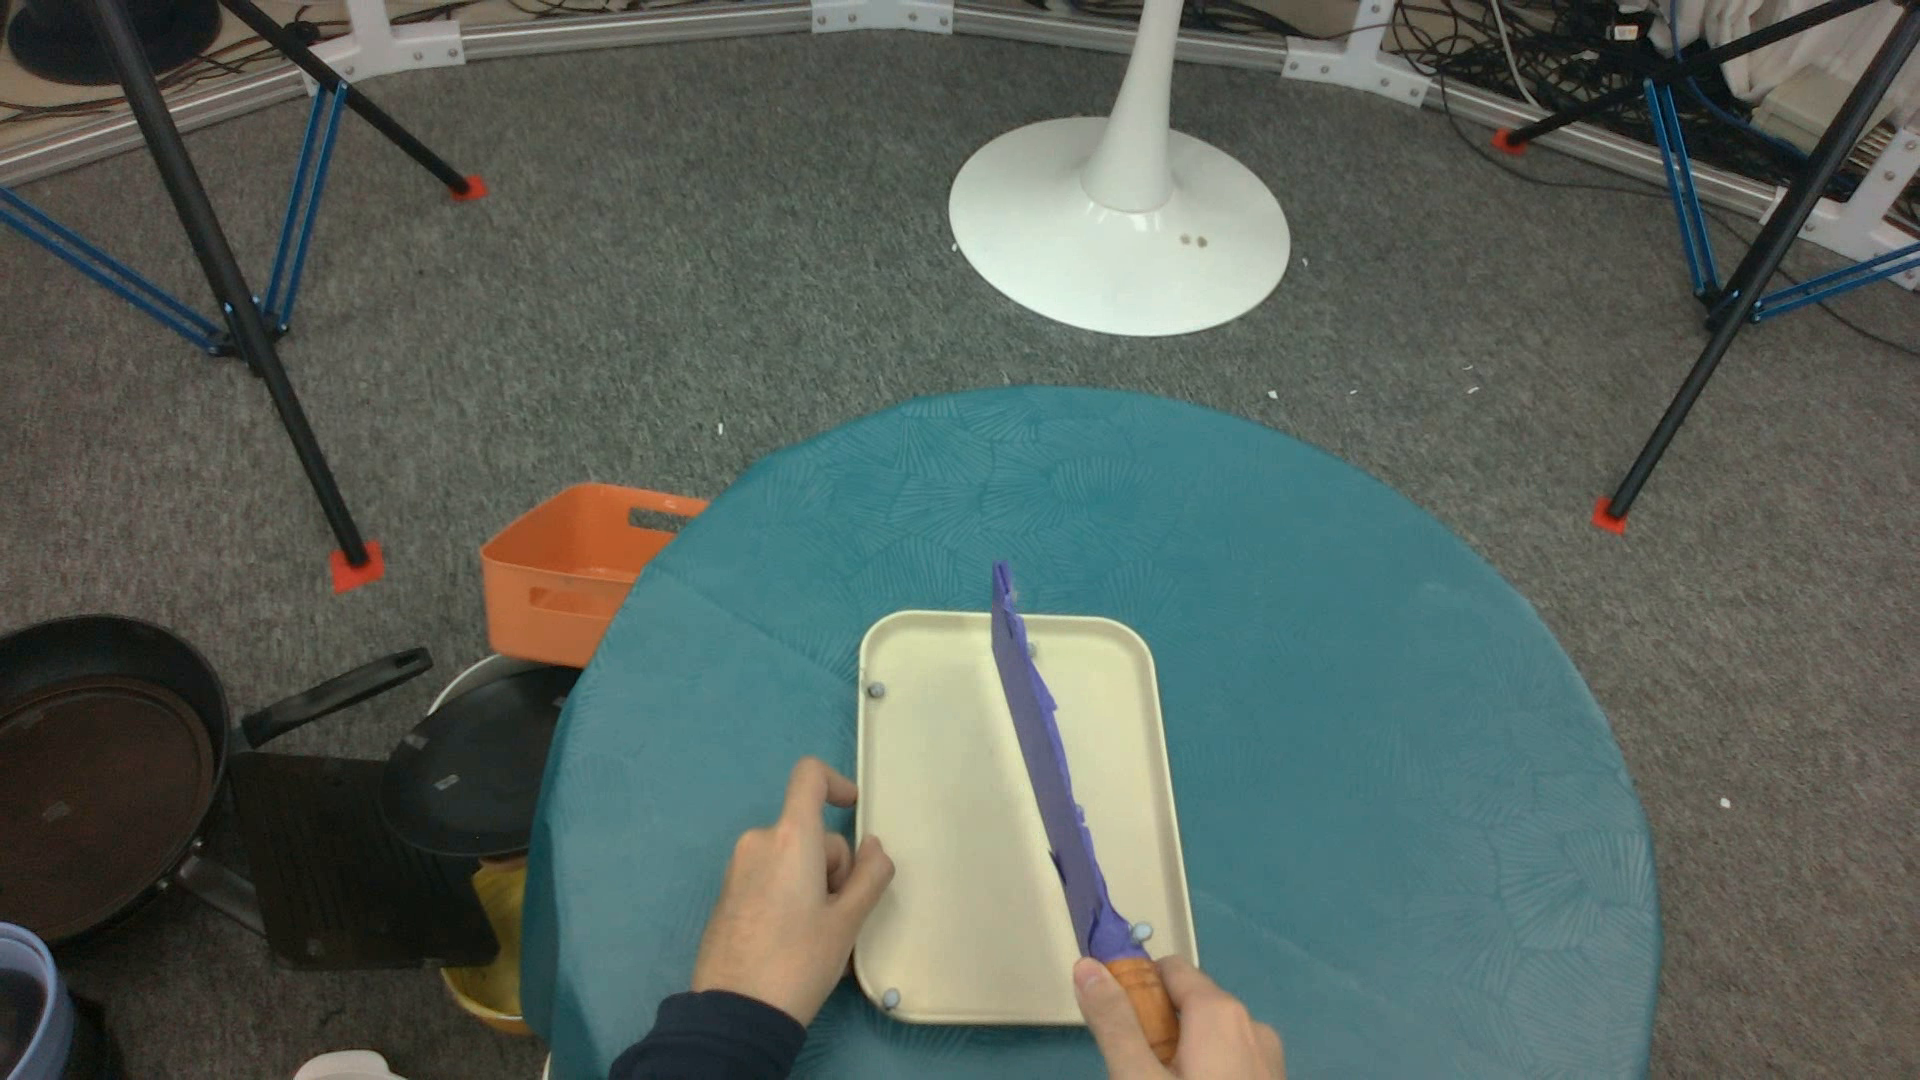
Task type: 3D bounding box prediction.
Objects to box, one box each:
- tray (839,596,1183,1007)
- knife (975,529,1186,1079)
[{"bbox_3d":[0.021,0.131,0.730,0.171,0.017,0.241,4,50,-8],"label":"tray"},{"bbox_3d":[0.051,0.143,0.652,0.032,0.103,0.316,-10,53,-6],"label":"knife"}]
